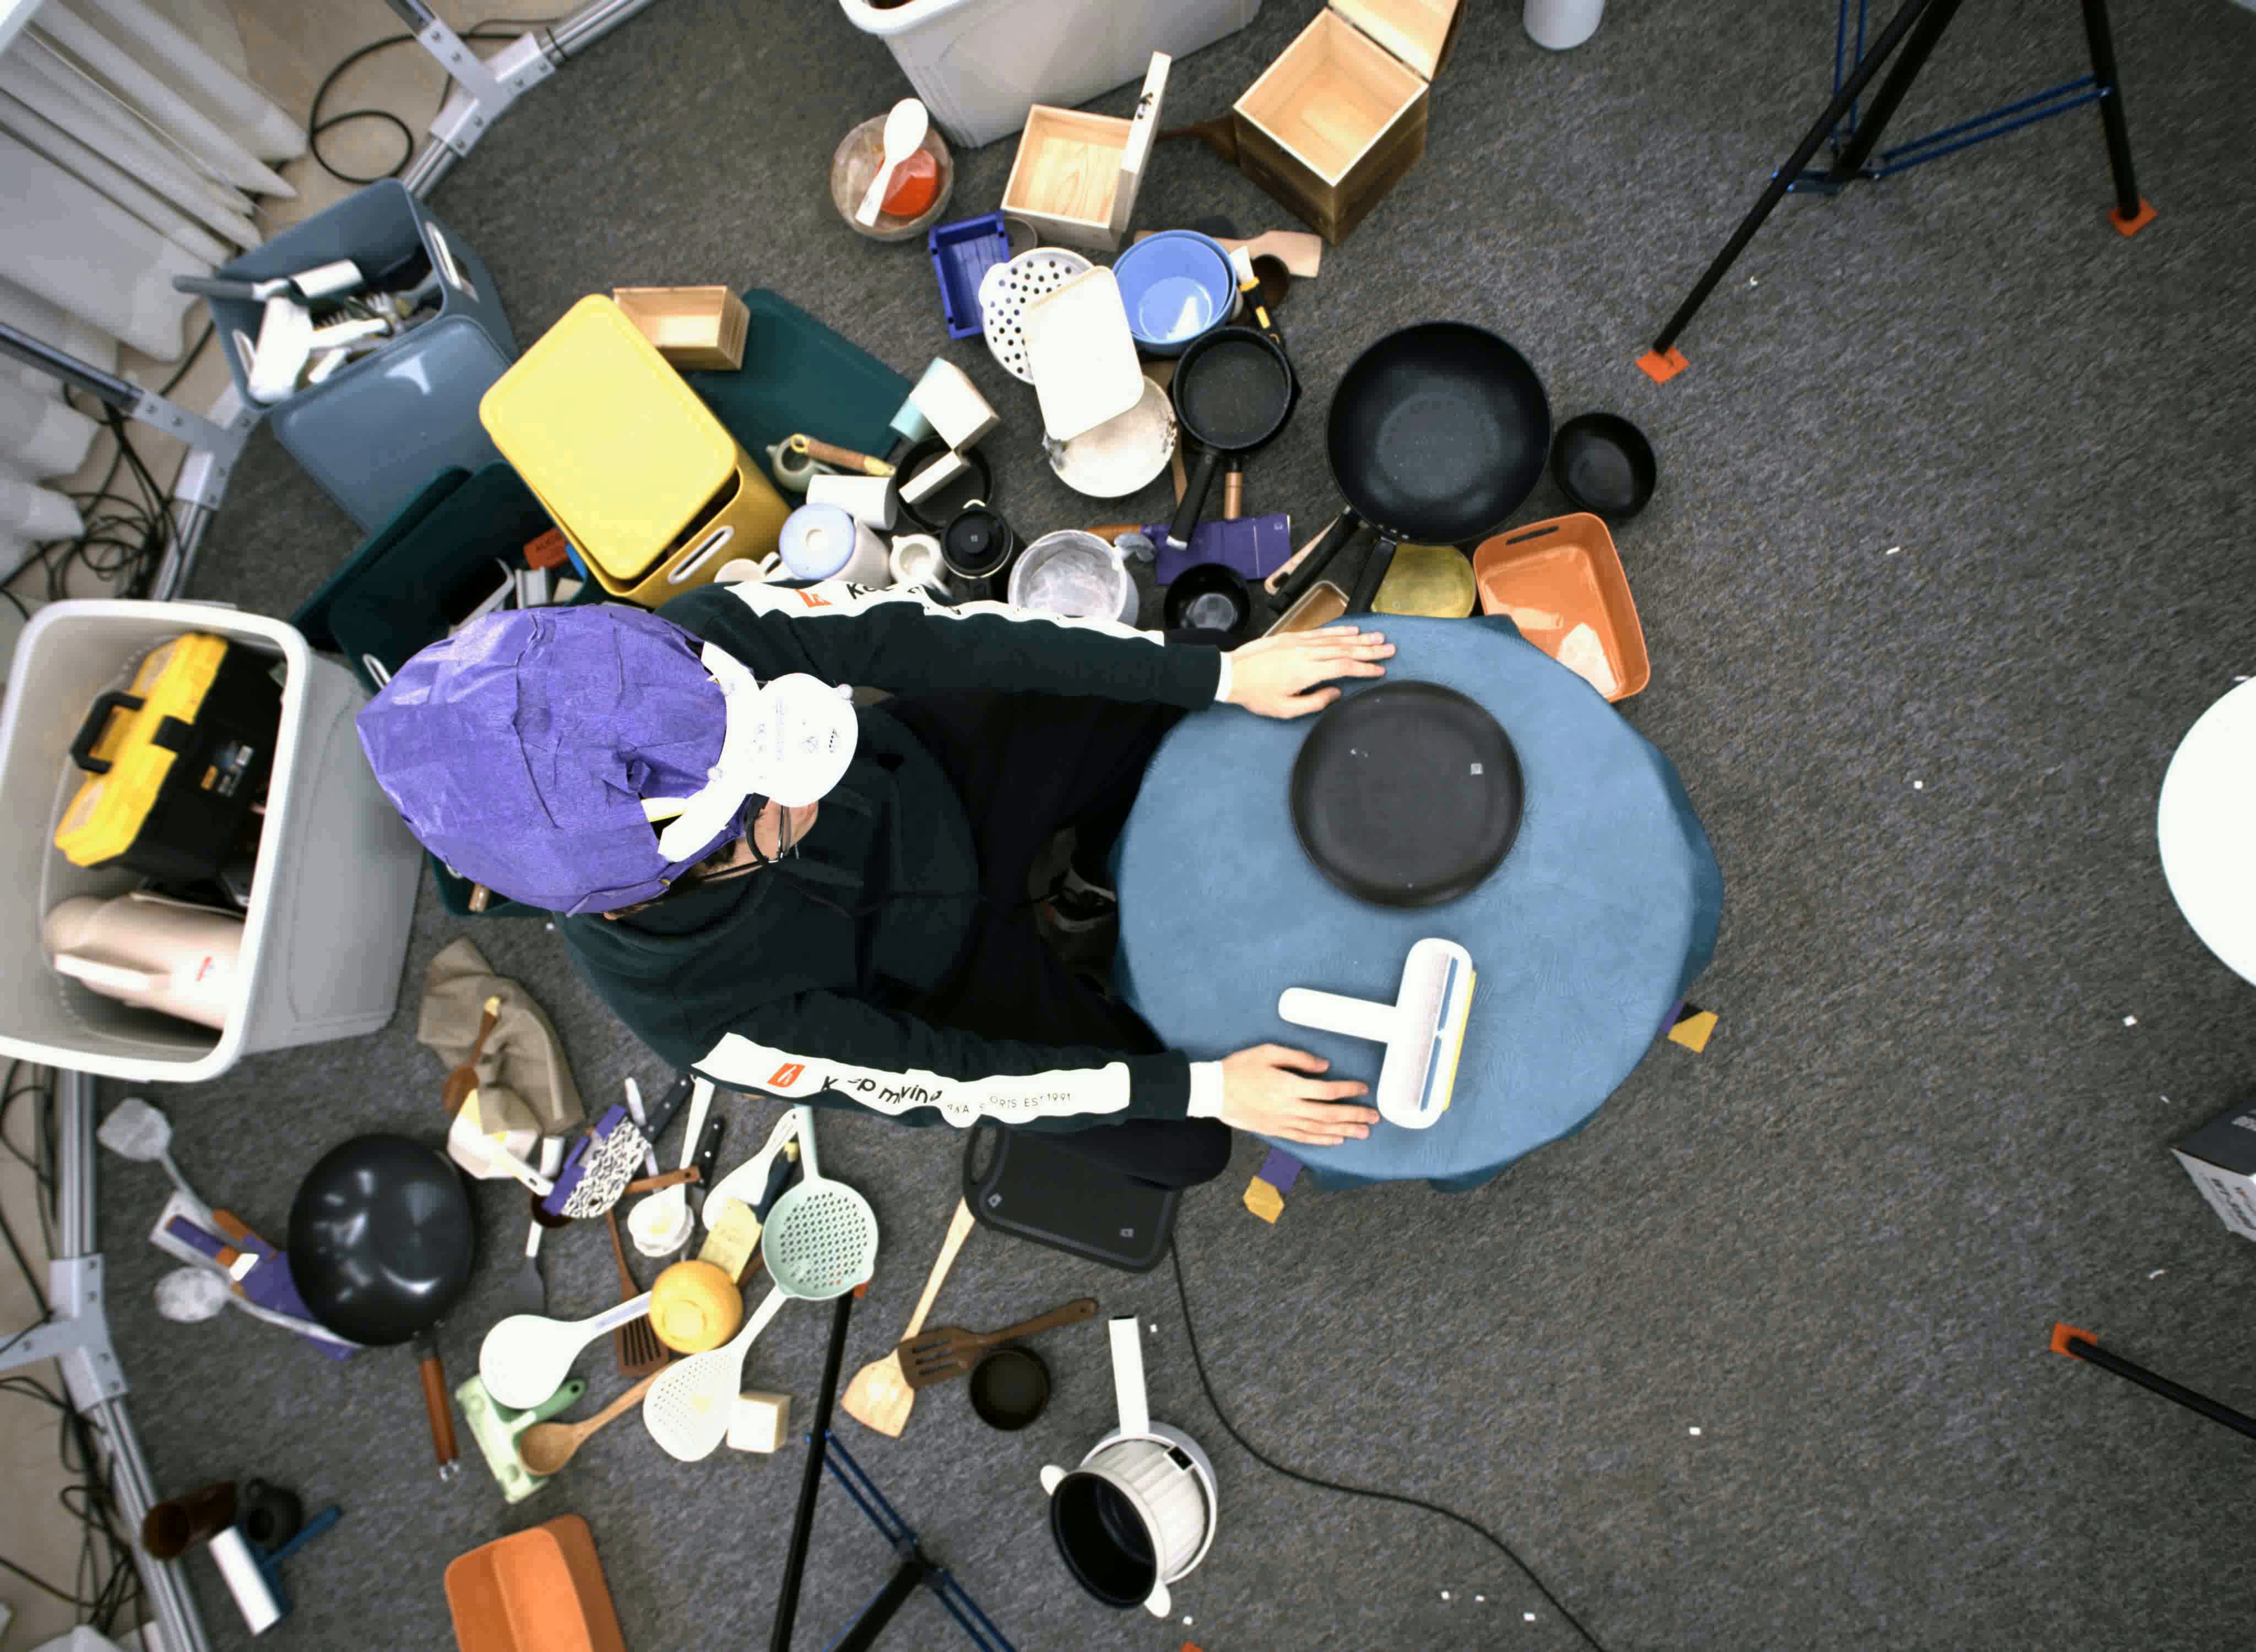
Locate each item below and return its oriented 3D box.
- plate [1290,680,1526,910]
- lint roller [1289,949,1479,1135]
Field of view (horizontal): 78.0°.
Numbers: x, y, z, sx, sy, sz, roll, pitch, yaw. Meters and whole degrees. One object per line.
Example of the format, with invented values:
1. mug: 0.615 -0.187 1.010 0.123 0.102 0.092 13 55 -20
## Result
1. plate: 0.292 -0.034 1.445 0.245 0.023 0.243 -1 87 10
2. lint roller: 0.252 0.205 1.437 0.192 0.074 0.191 16 83 25
